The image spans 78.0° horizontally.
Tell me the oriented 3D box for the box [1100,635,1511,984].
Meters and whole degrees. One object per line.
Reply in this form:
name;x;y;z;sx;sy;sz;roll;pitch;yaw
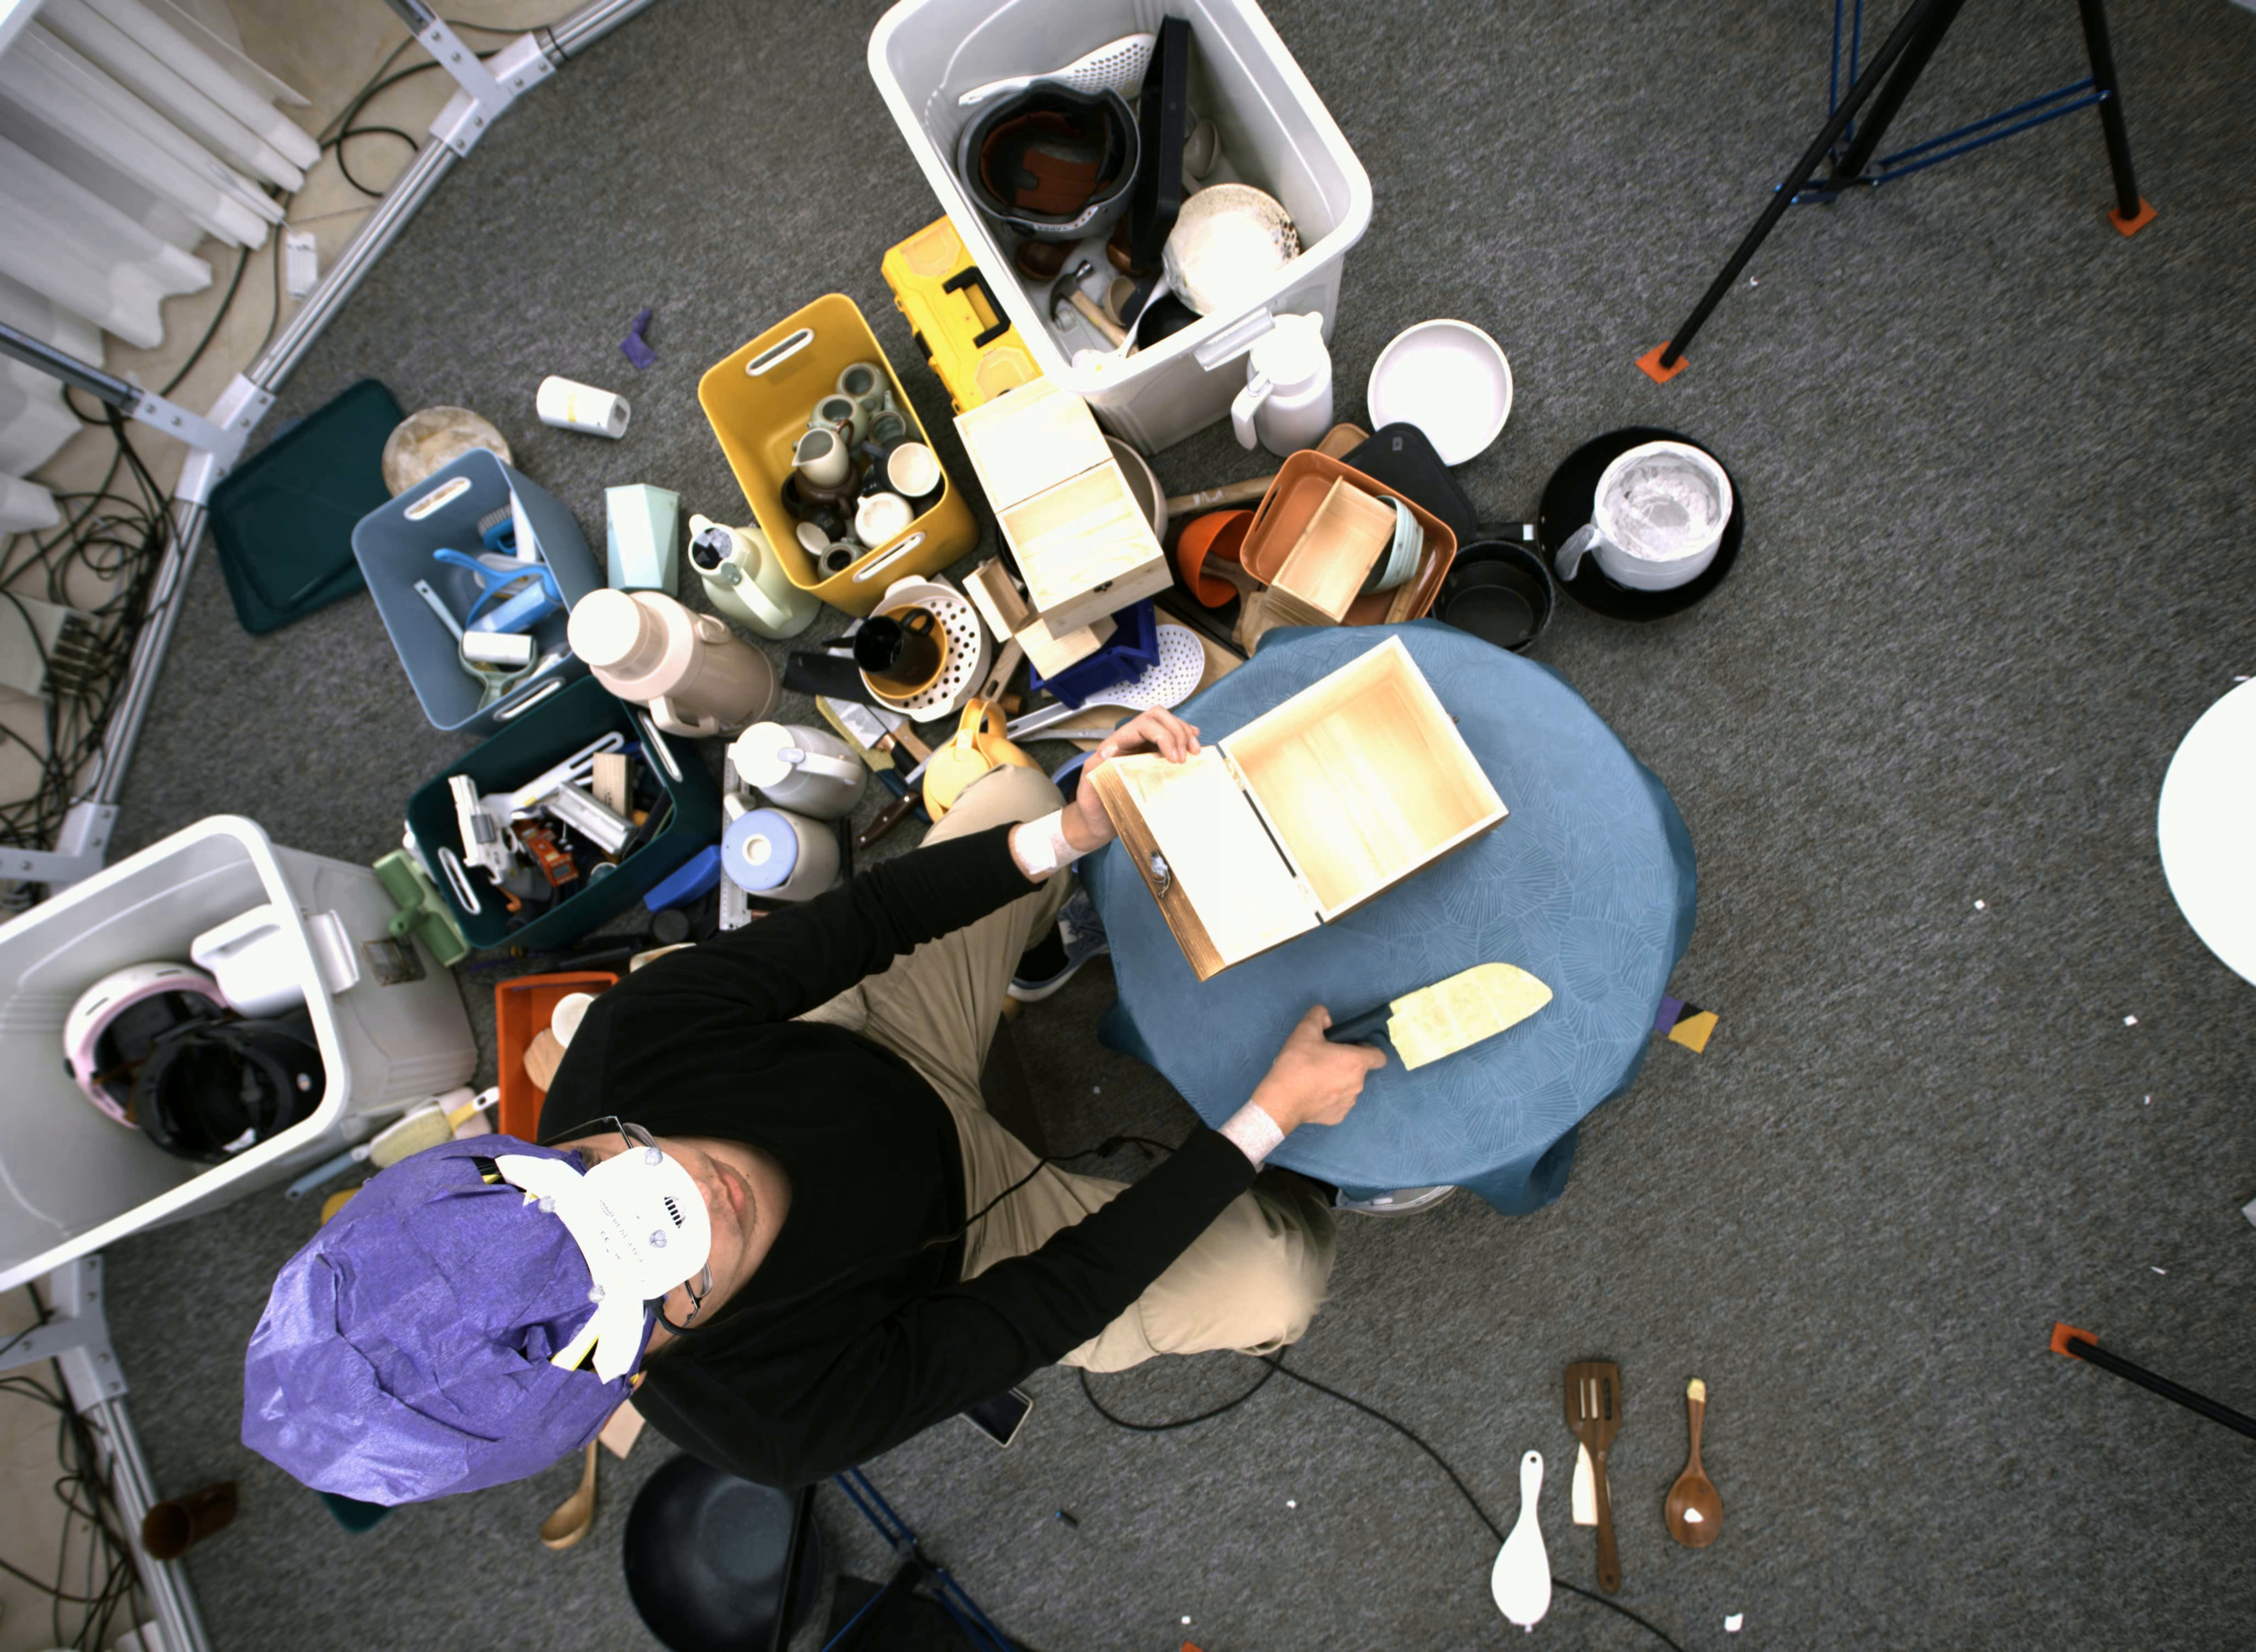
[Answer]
box;0.176;-0.020;1.300;0.324;0.375;0.207;-31;81;7

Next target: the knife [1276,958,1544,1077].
knife;0.293;0.205;1.423;0.290;0.028;0.079;-21;61;2
